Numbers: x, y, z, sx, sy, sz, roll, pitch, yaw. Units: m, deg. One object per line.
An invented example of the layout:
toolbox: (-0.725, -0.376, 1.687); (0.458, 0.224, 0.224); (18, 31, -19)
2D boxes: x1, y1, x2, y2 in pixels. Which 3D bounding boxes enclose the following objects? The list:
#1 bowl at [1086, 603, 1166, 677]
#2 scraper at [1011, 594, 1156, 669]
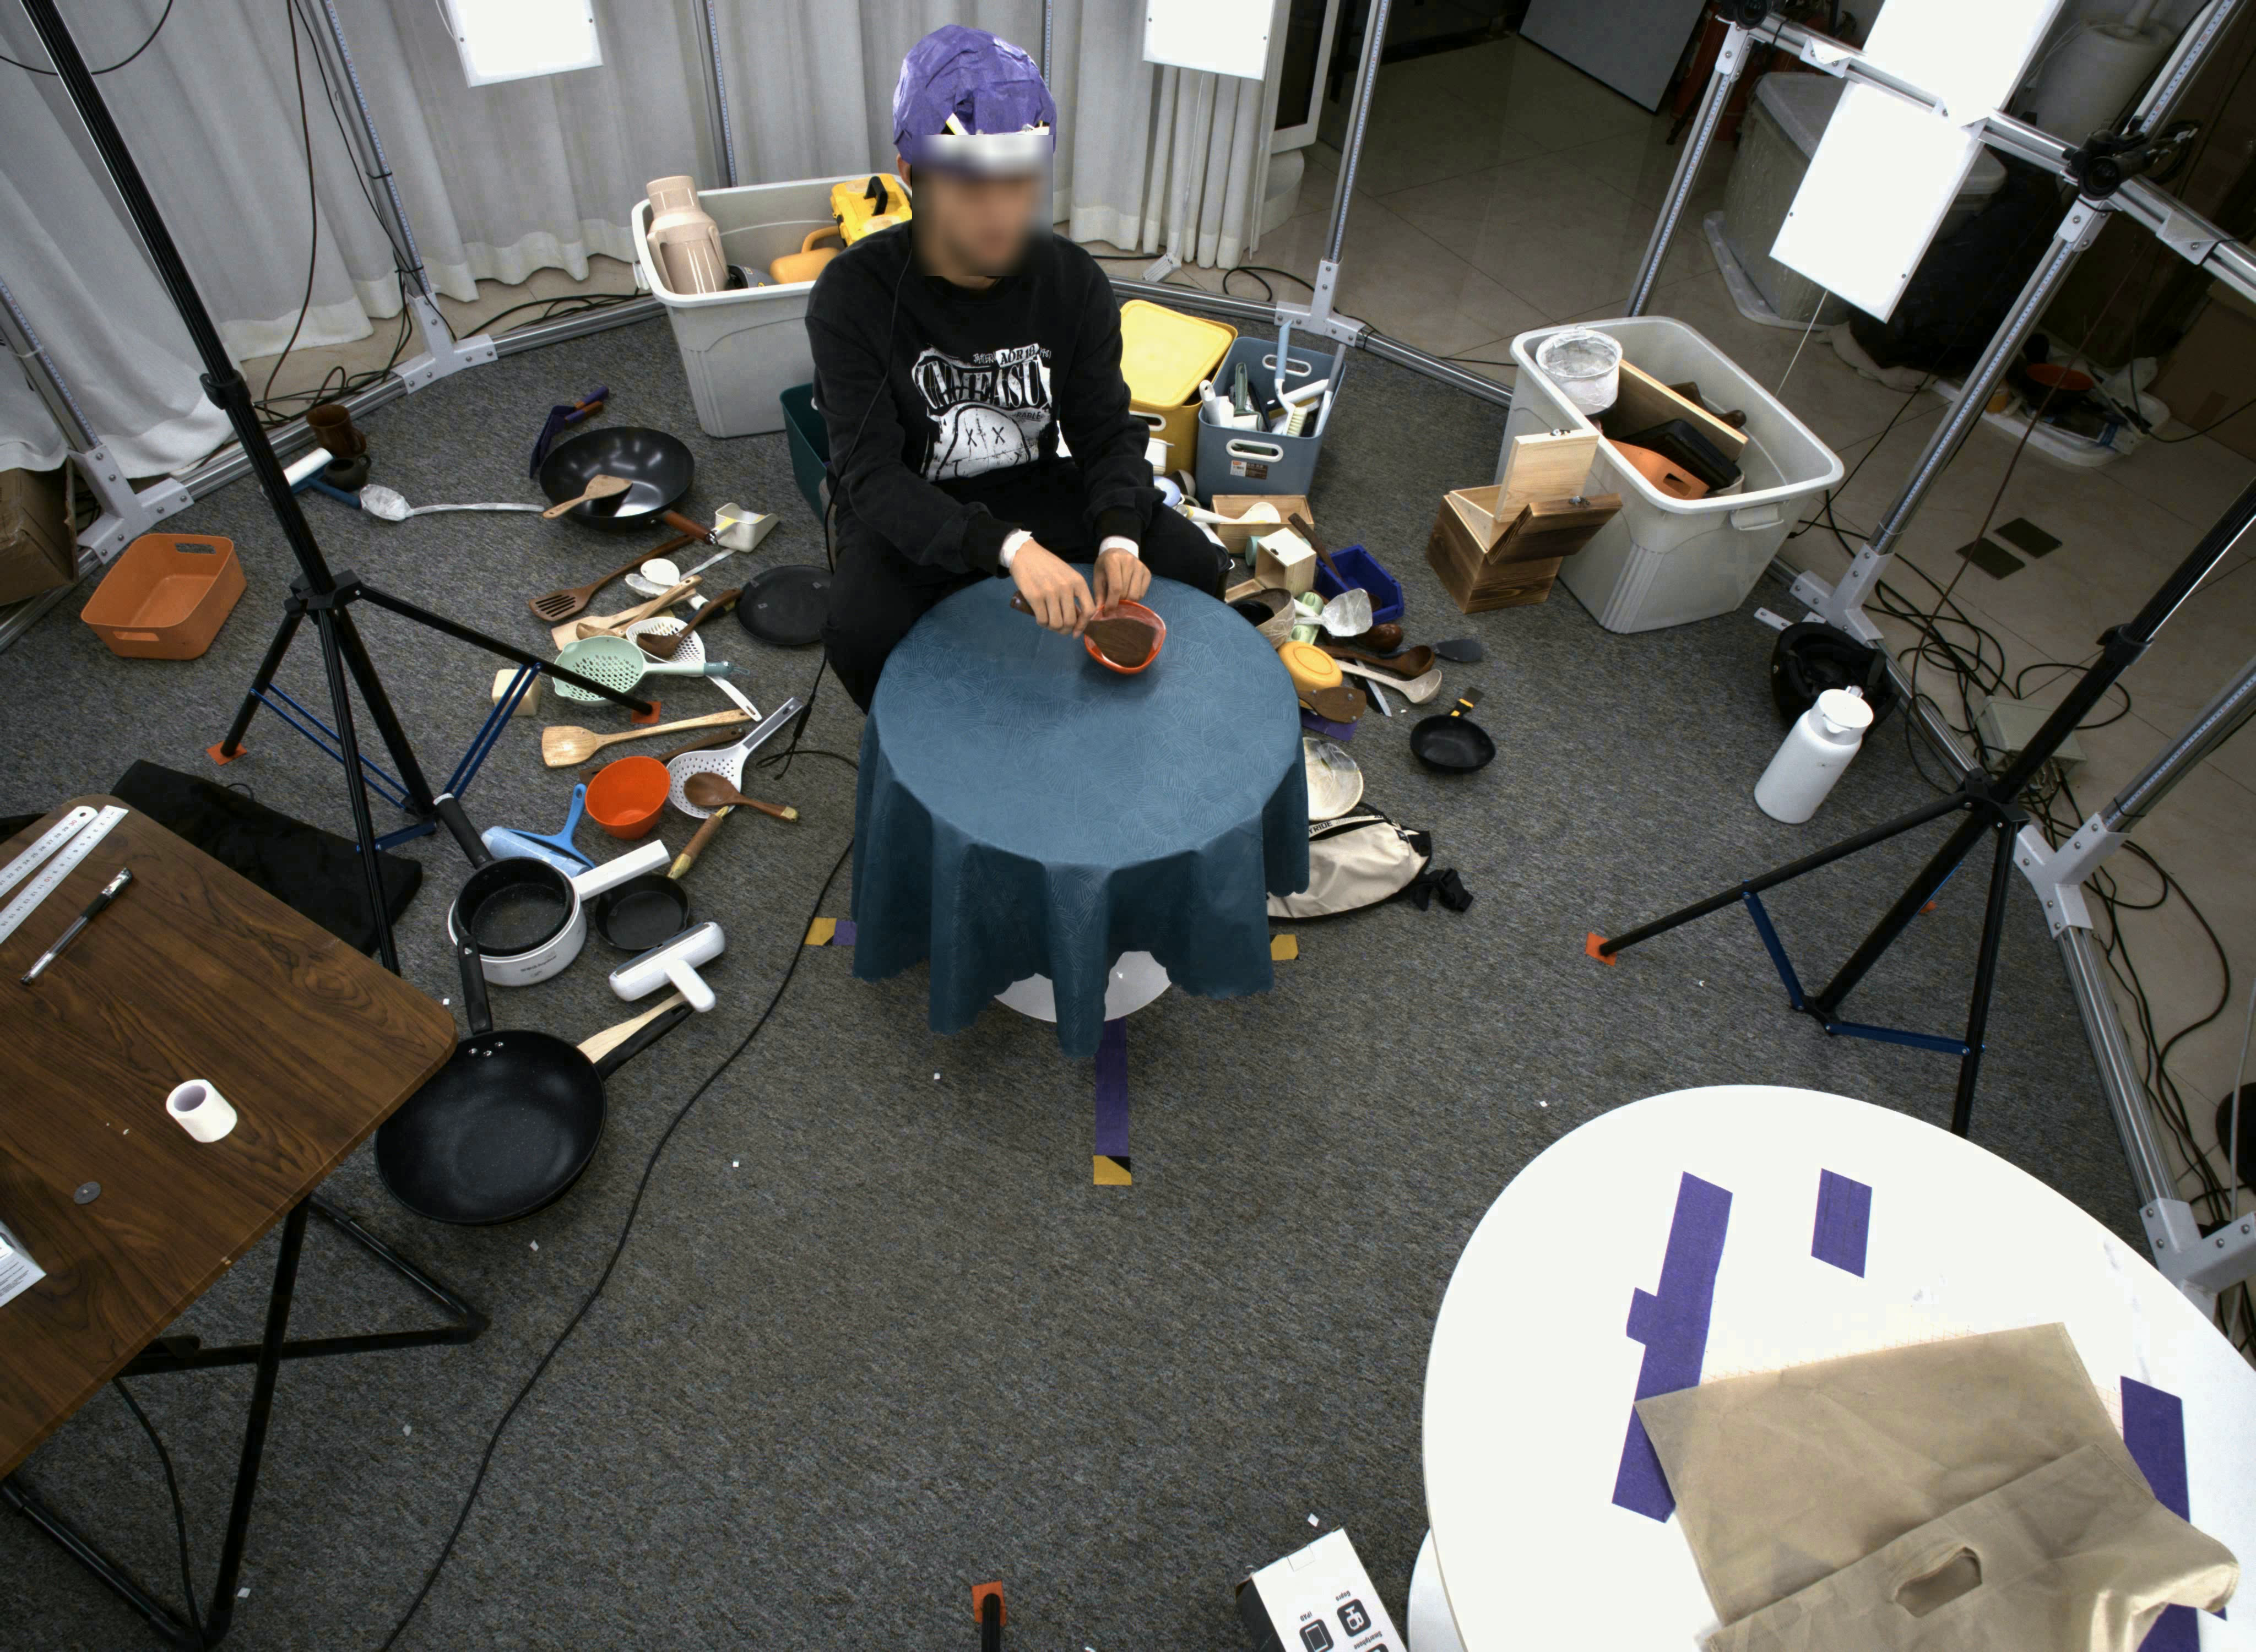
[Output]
bowl: (-0.004, -0.263, 1.872); (0.119, 0.050, 0.121); (1, 65, -1)
scraper: (-0.064, -0.280, 1.810); (0.210, 0.074, 0.011); (19, 27, -17)
